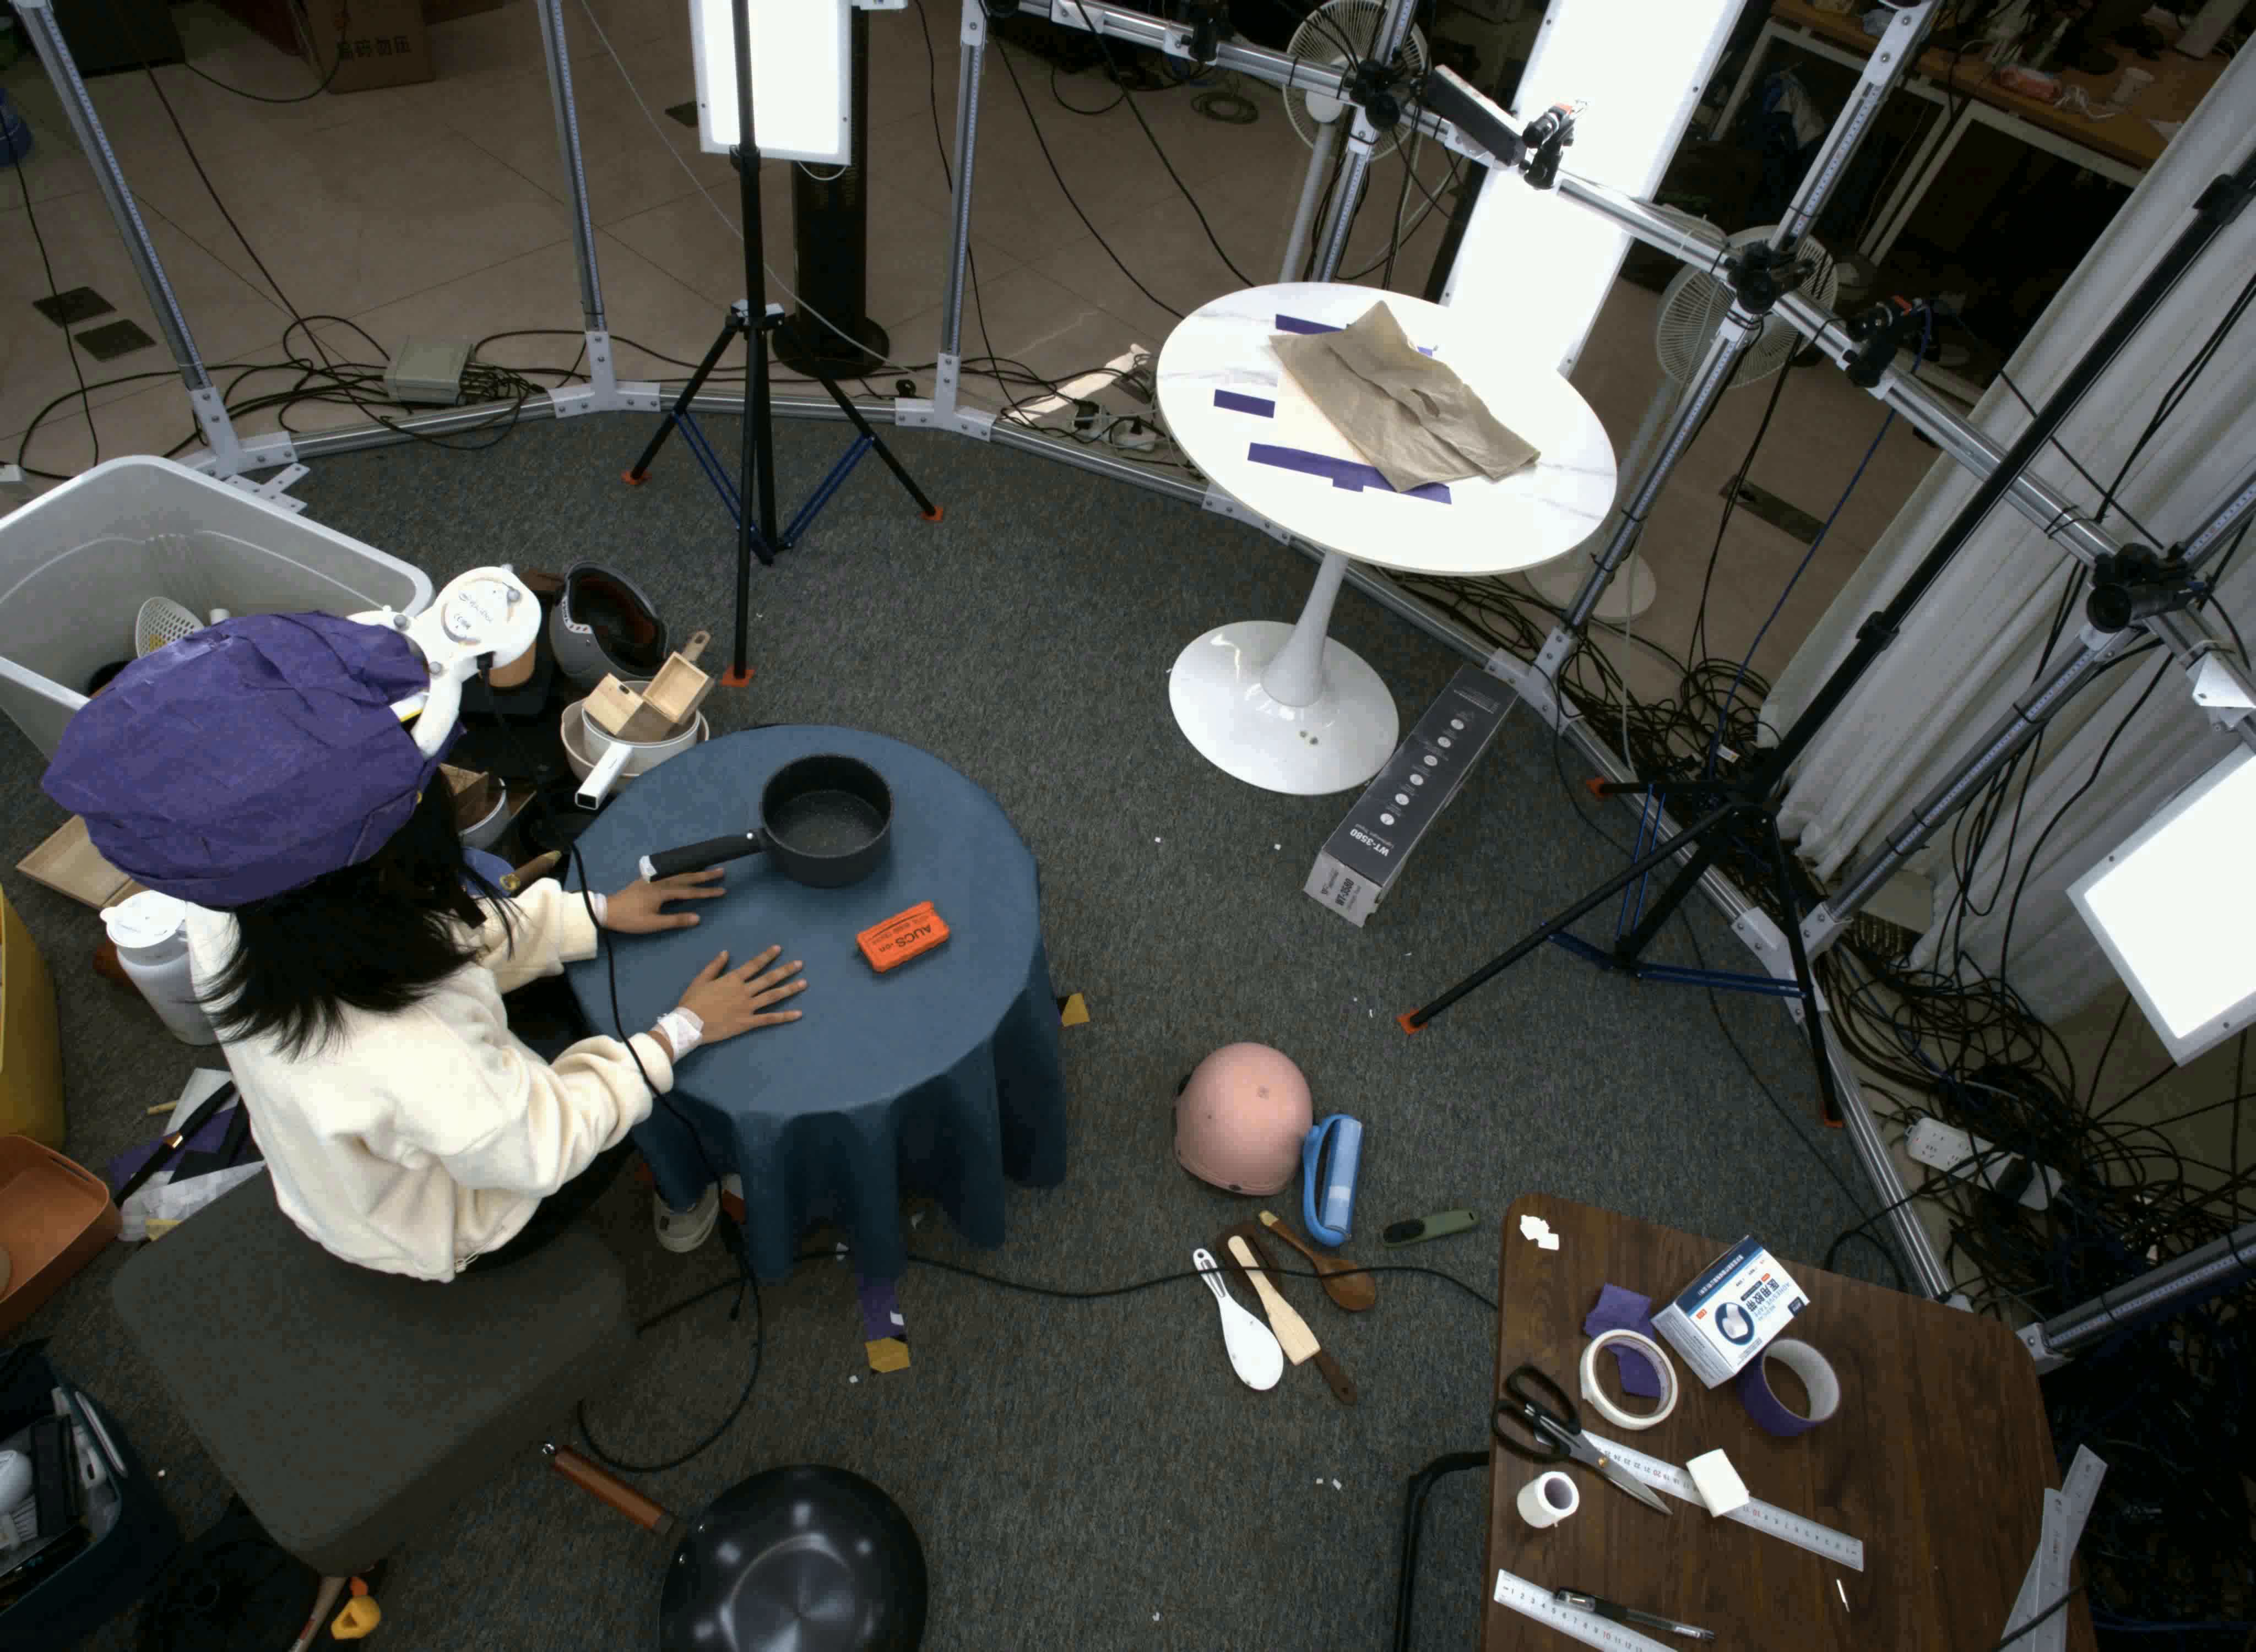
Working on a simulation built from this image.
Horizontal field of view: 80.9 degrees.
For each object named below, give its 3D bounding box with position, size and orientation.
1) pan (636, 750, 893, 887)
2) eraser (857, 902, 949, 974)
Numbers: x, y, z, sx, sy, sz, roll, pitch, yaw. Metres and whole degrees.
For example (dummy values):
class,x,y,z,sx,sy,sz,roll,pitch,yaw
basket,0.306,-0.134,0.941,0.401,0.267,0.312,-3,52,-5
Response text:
class,x,y,z,sx,sy,sz,roll,pitch,yaw
pan,-0.458,0.015,1.645,0.330,0.088,0.167,-20,60,-28
eraser,-0.283,0.138,1.637,0.108,0.023,0.057,-26,64,-30
